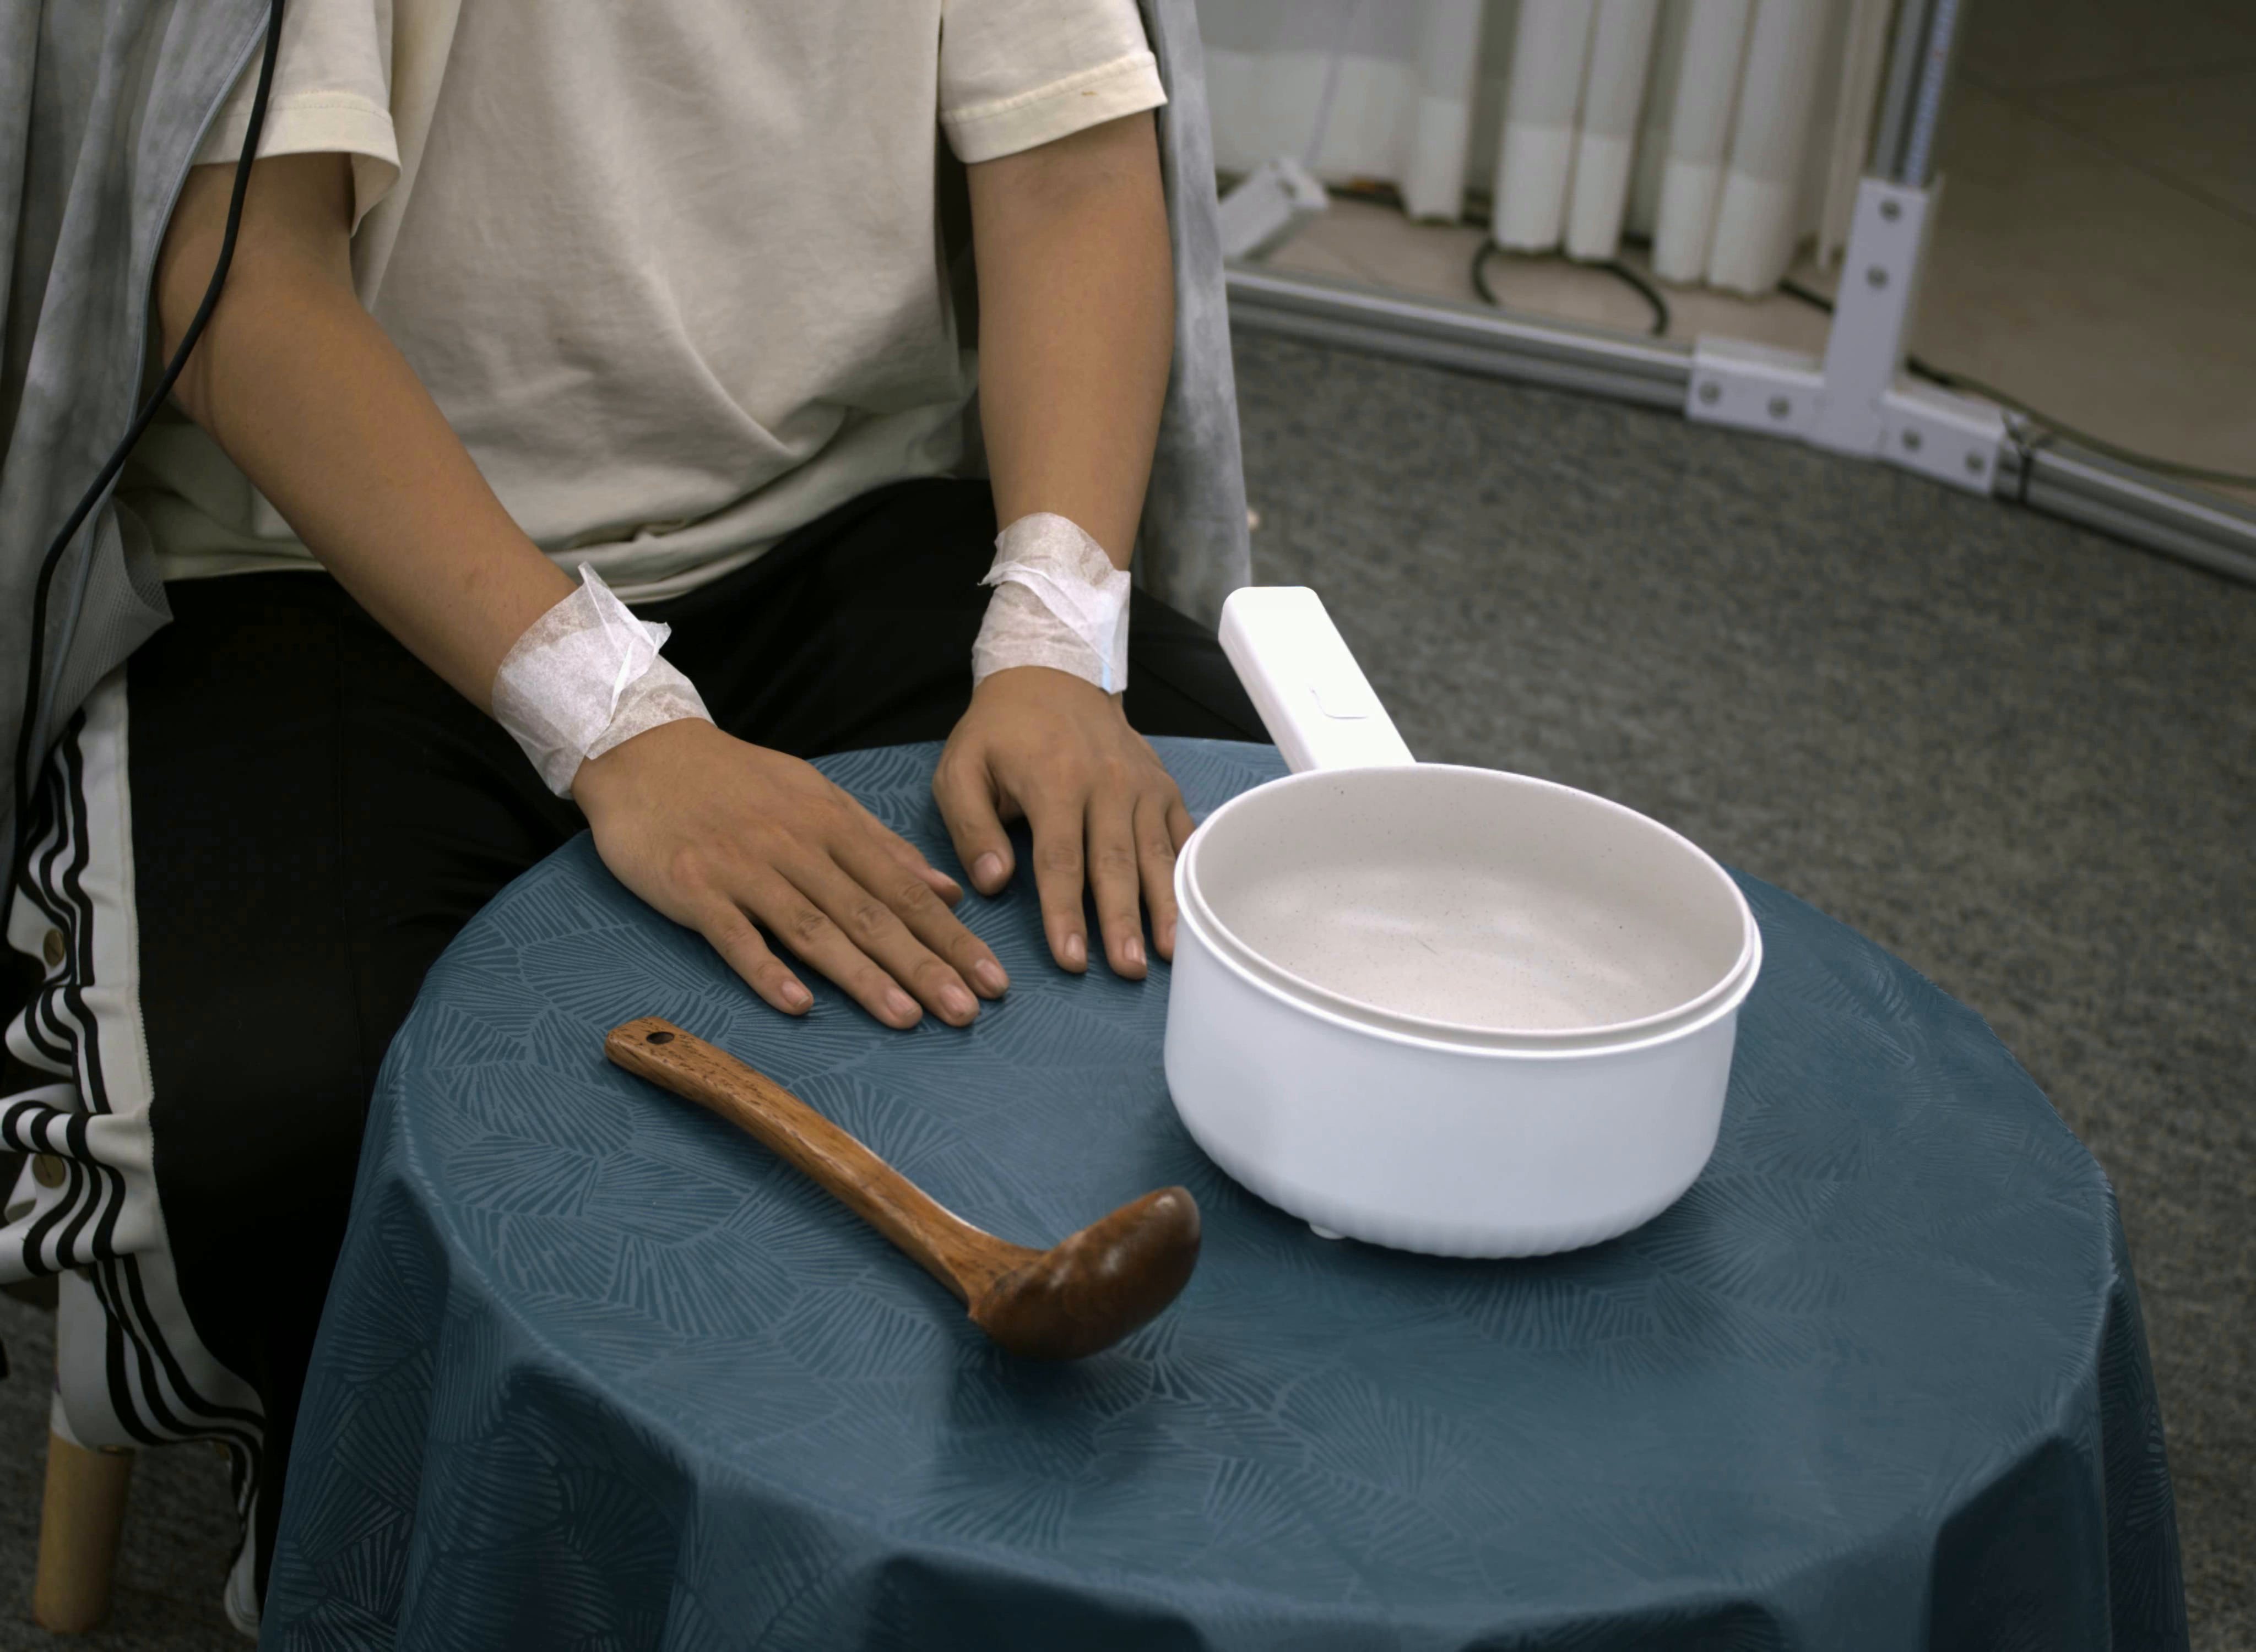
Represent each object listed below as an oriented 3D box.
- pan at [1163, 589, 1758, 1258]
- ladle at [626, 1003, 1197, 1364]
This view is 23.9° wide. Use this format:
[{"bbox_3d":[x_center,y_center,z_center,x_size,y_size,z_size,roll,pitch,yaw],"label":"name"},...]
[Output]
[{"bbox_3d":[0.093,0.032,1.898,0.200,0.102,0.358,-1,27,-14],"label":"pan"},{"bbox_3d":[-0.082,0.098,1.749,0.081,0.076,0.276,-17,36,-36],"label":"ladle"}]
